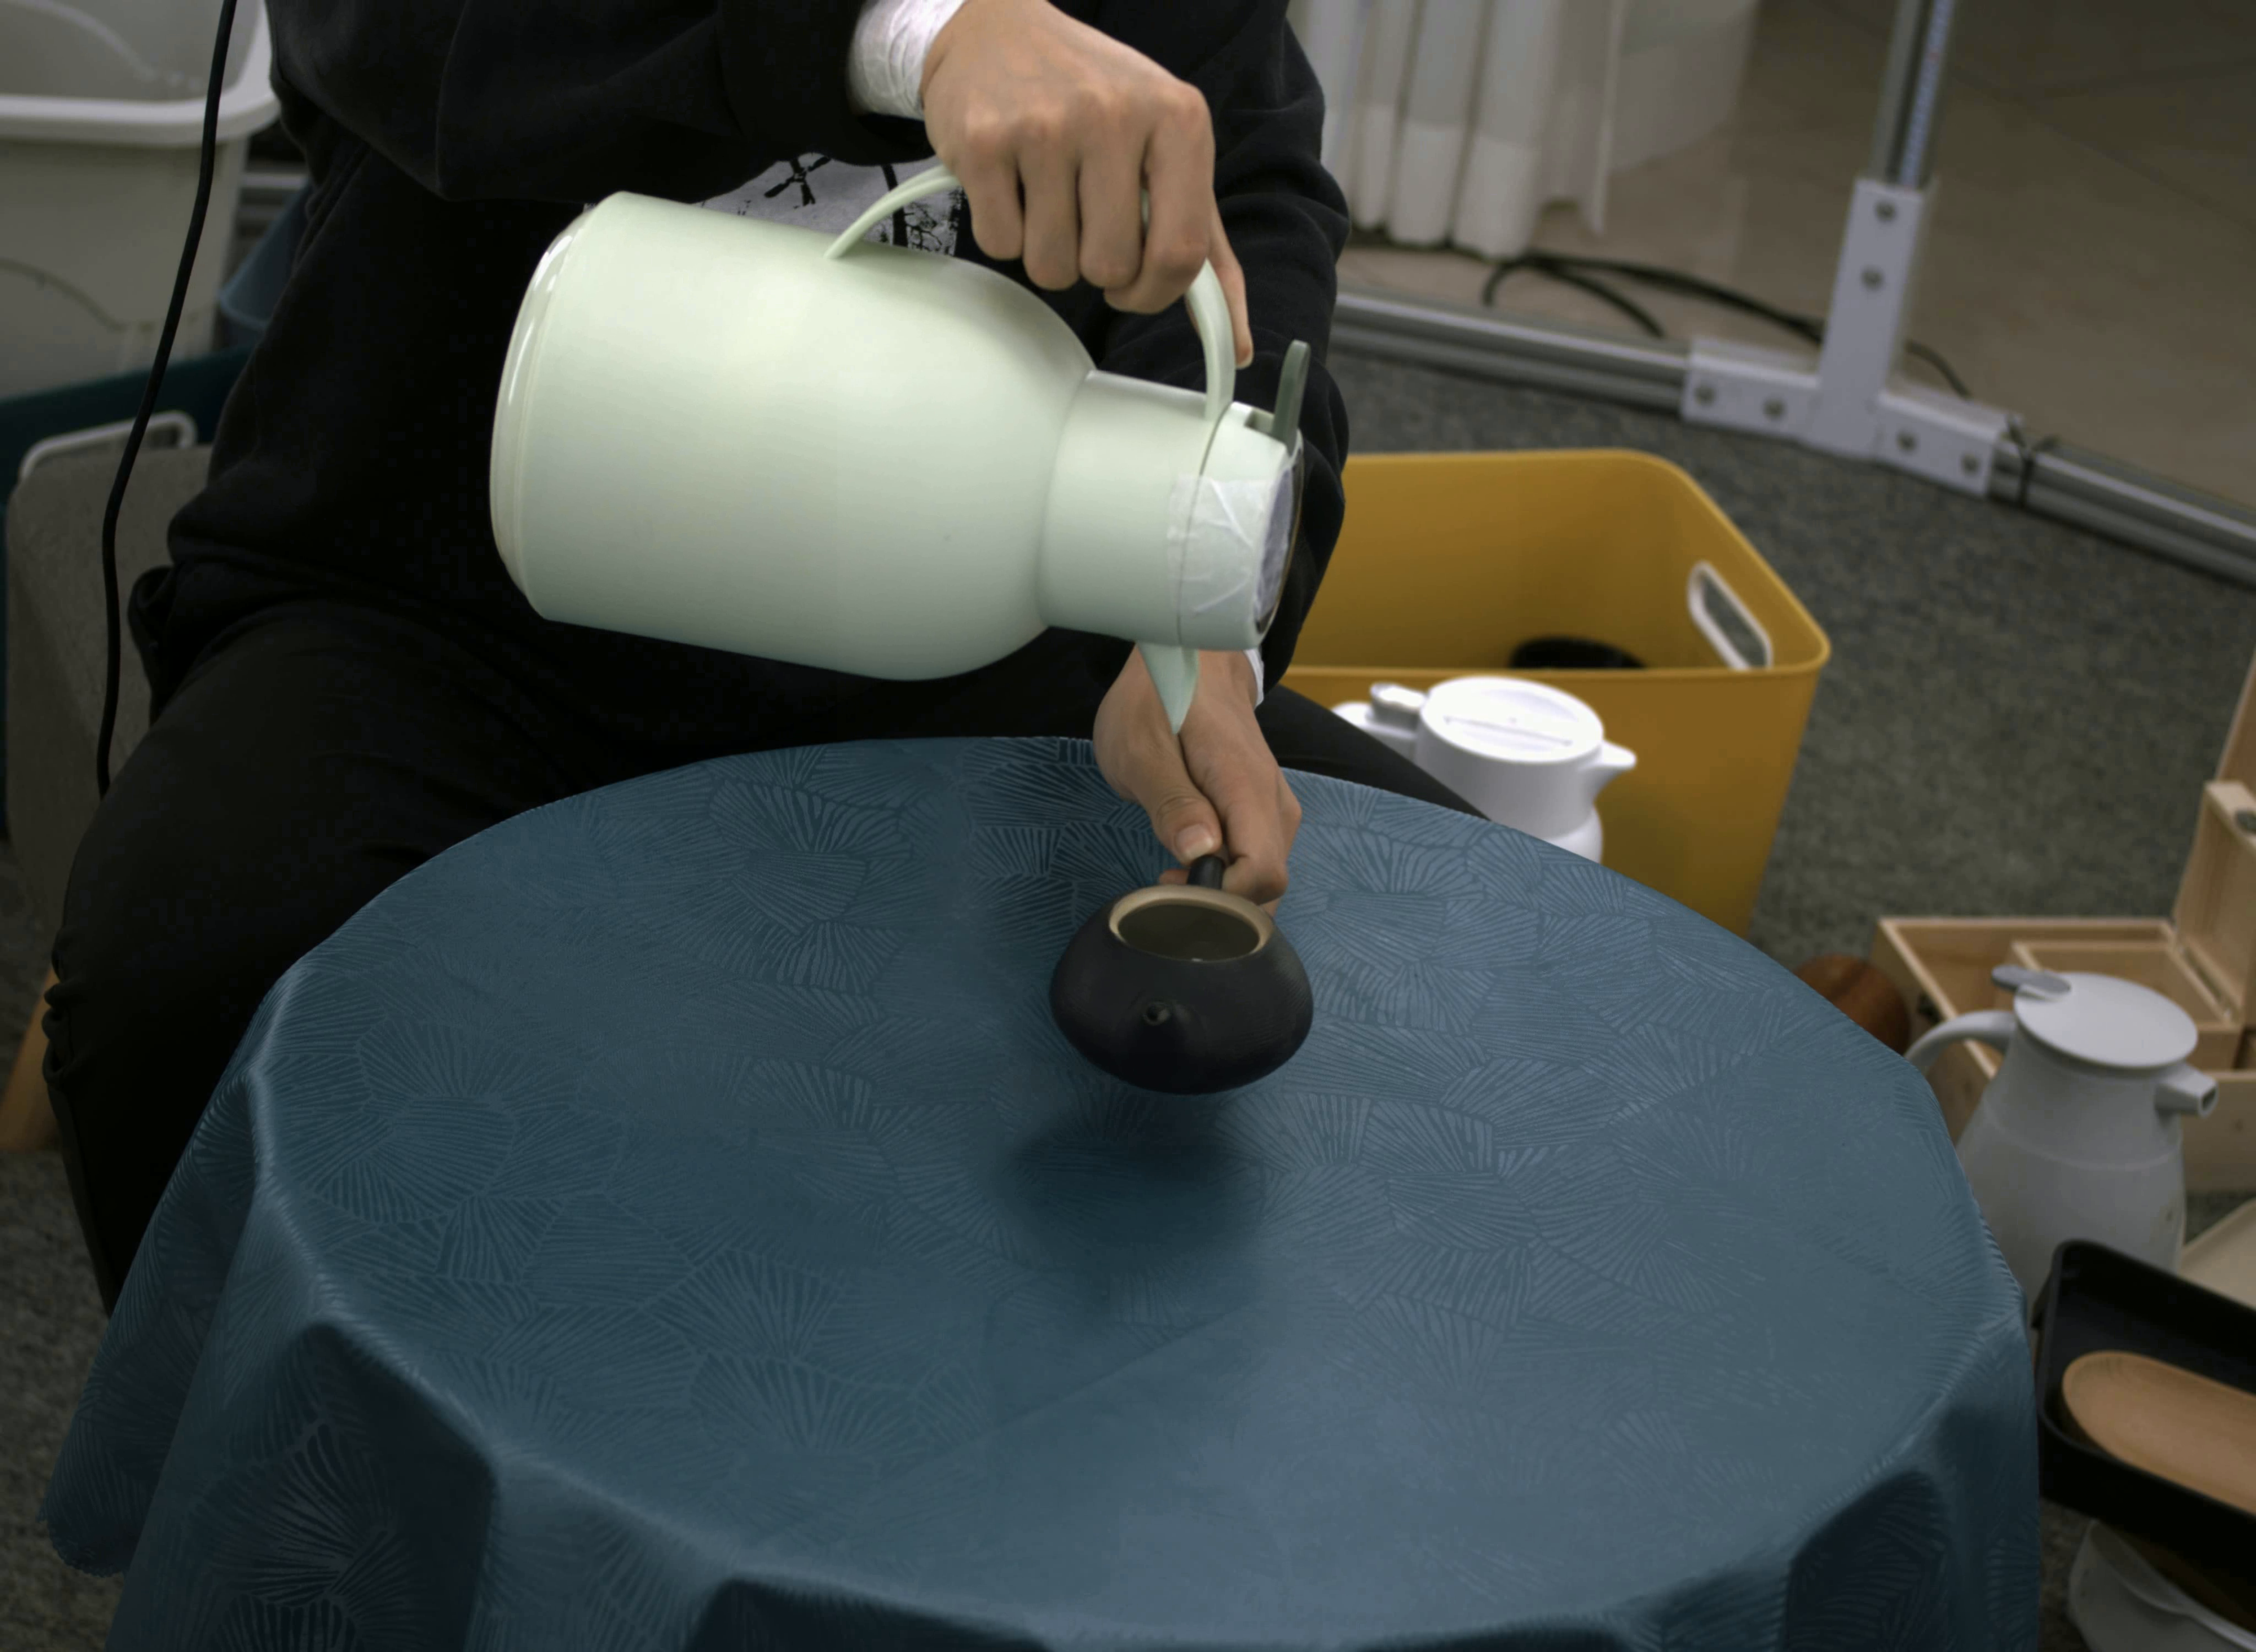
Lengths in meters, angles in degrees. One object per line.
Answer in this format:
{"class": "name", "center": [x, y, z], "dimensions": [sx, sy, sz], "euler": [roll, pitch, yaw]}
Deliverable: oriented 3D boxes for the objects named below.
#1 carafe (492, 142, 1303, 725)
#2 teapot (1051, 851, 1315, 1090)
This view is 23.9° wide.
{"class": "carafe", "center": [-0.071, -0.135, 1.755], "dimensions": [0.257, 0.186, 0.144], "euler": [8, 19, 12]}
{"class": "teapot", "center": [0.019, 0.054, 1.819], "dimensions": [0.091, 0.053, 0.133], "euler": [10, 27, 6]}
